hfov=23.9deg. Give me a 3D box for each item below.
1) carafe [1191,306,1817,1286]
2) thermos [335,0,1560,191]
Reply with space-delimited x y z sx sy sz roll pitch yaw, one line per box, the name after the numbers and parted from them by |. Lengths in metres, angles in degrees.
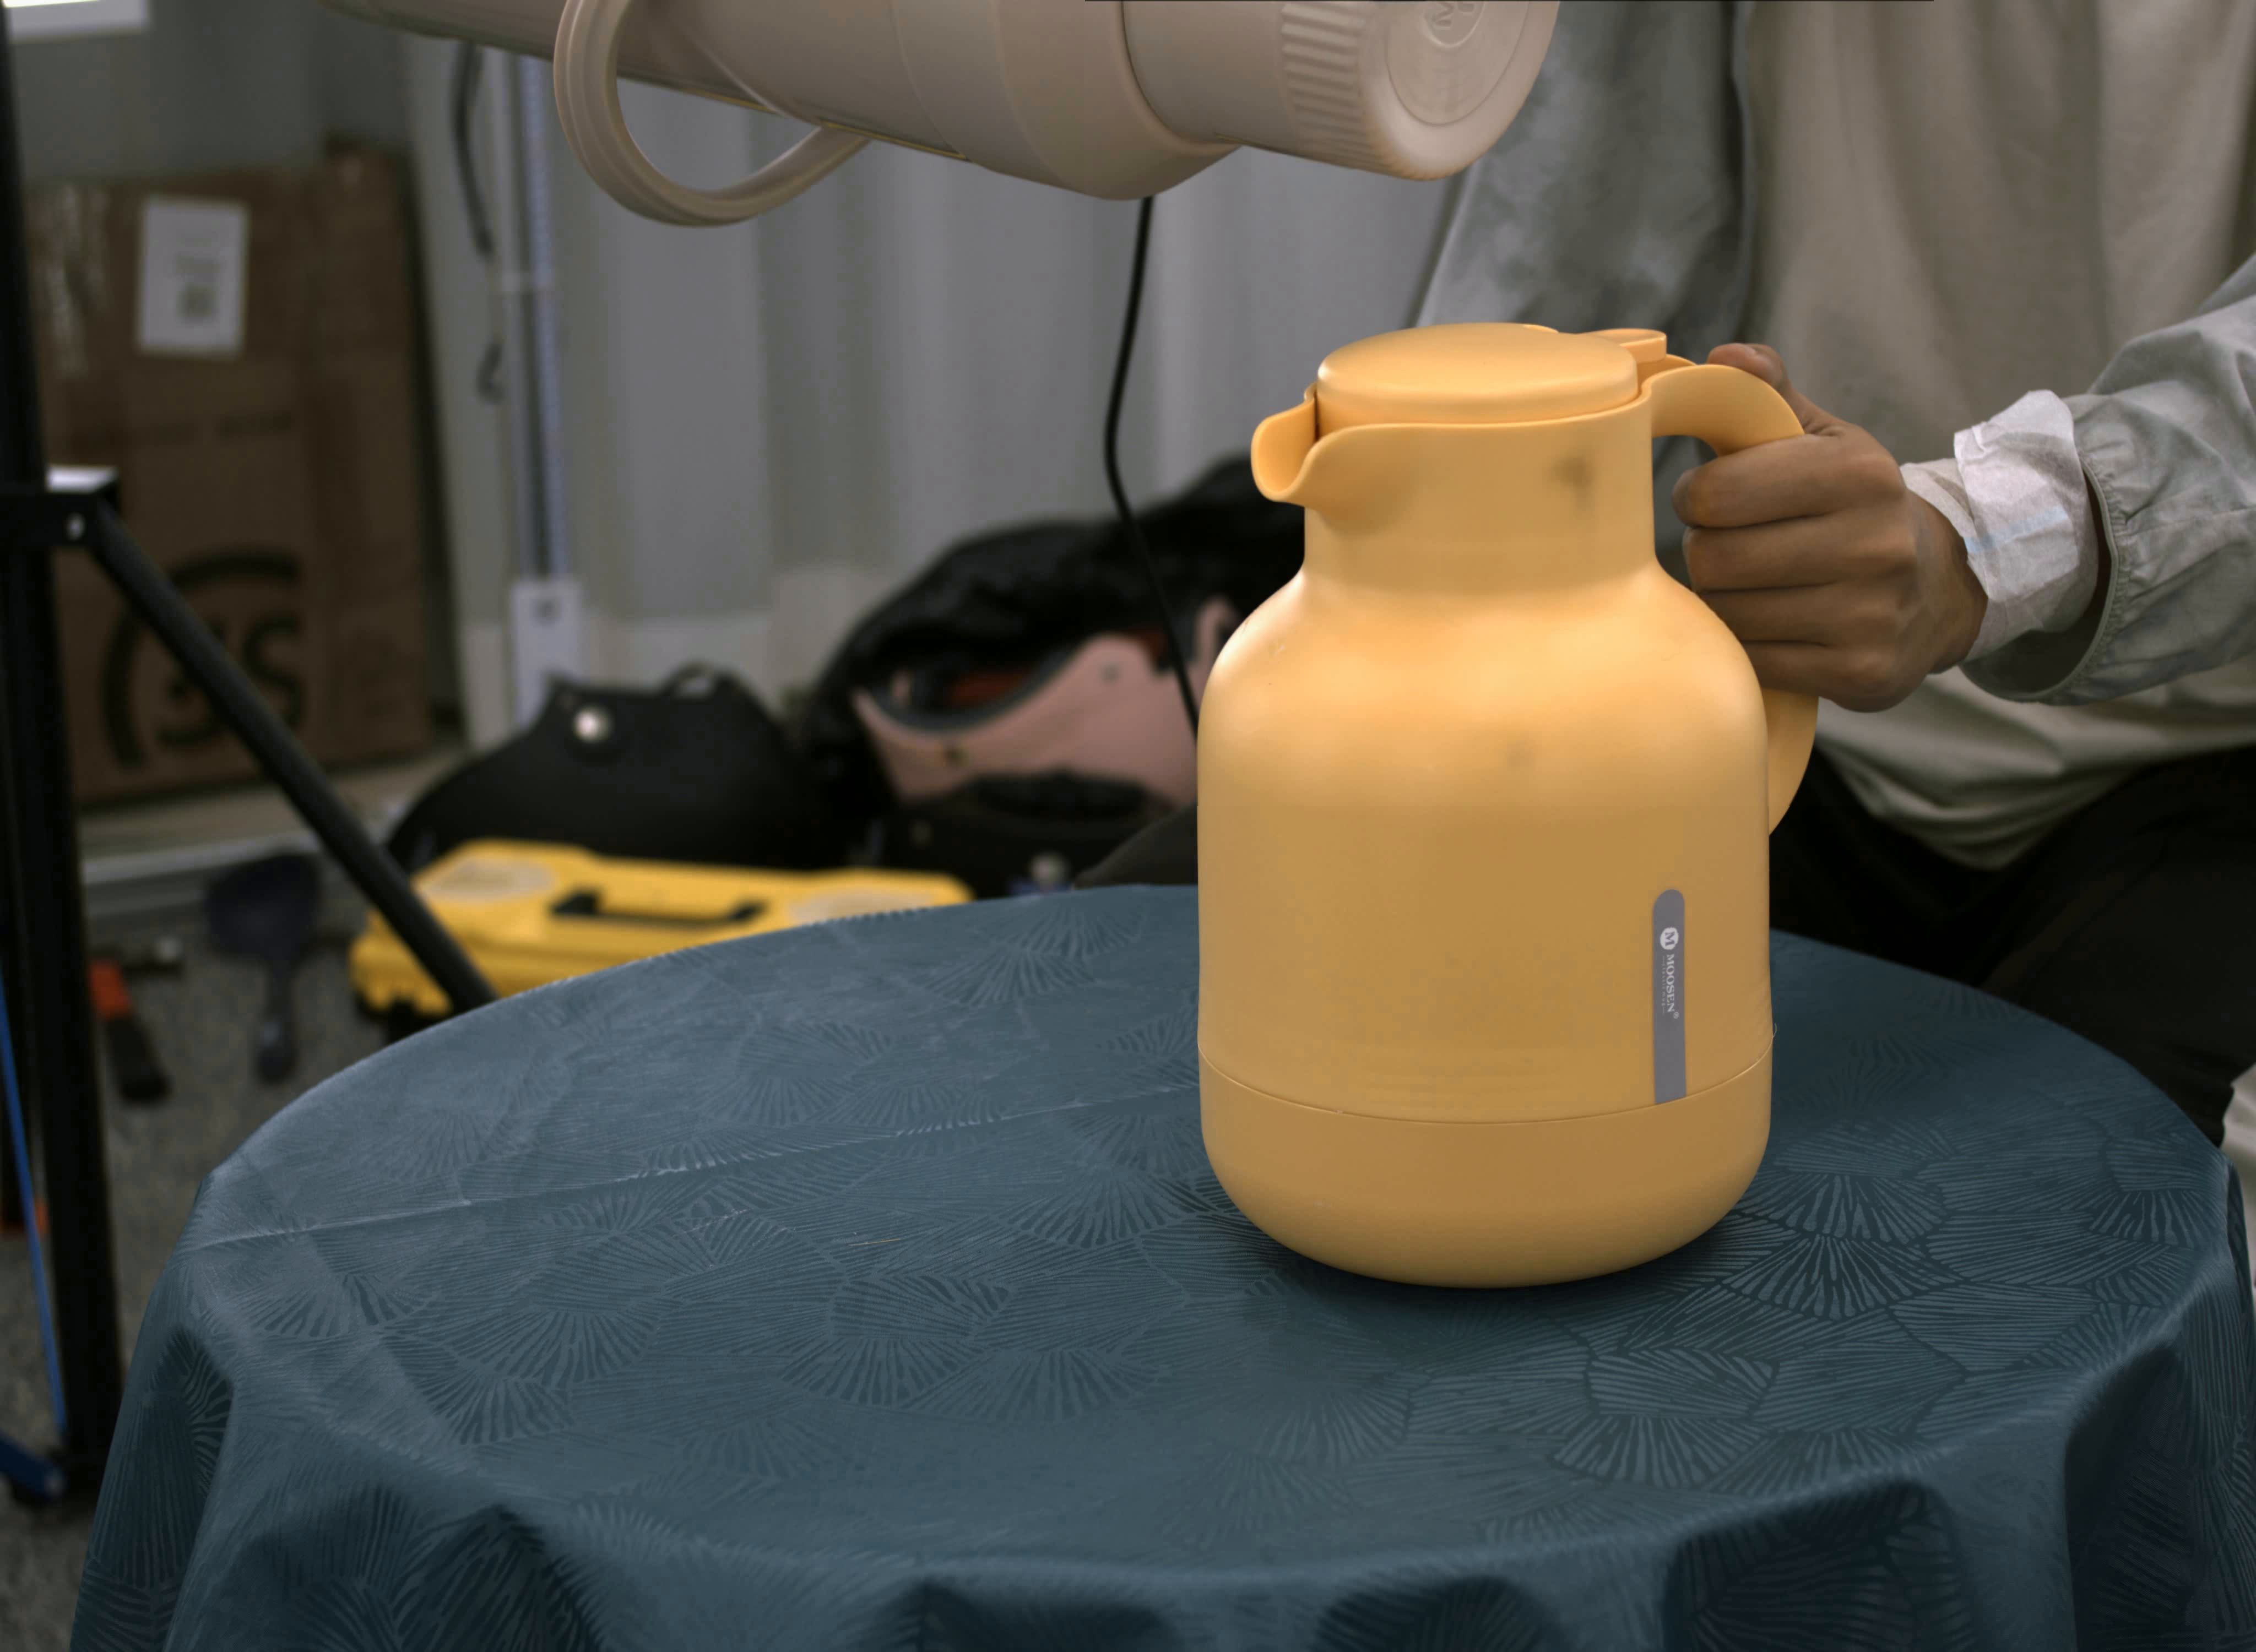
0.114 -0.015 1.494 0.198 0.260 0.167 -13 21 -32 | carafe
-0.061 -0.294 1.564 0.415 0.208 0.171 18 4 36 | thermos
